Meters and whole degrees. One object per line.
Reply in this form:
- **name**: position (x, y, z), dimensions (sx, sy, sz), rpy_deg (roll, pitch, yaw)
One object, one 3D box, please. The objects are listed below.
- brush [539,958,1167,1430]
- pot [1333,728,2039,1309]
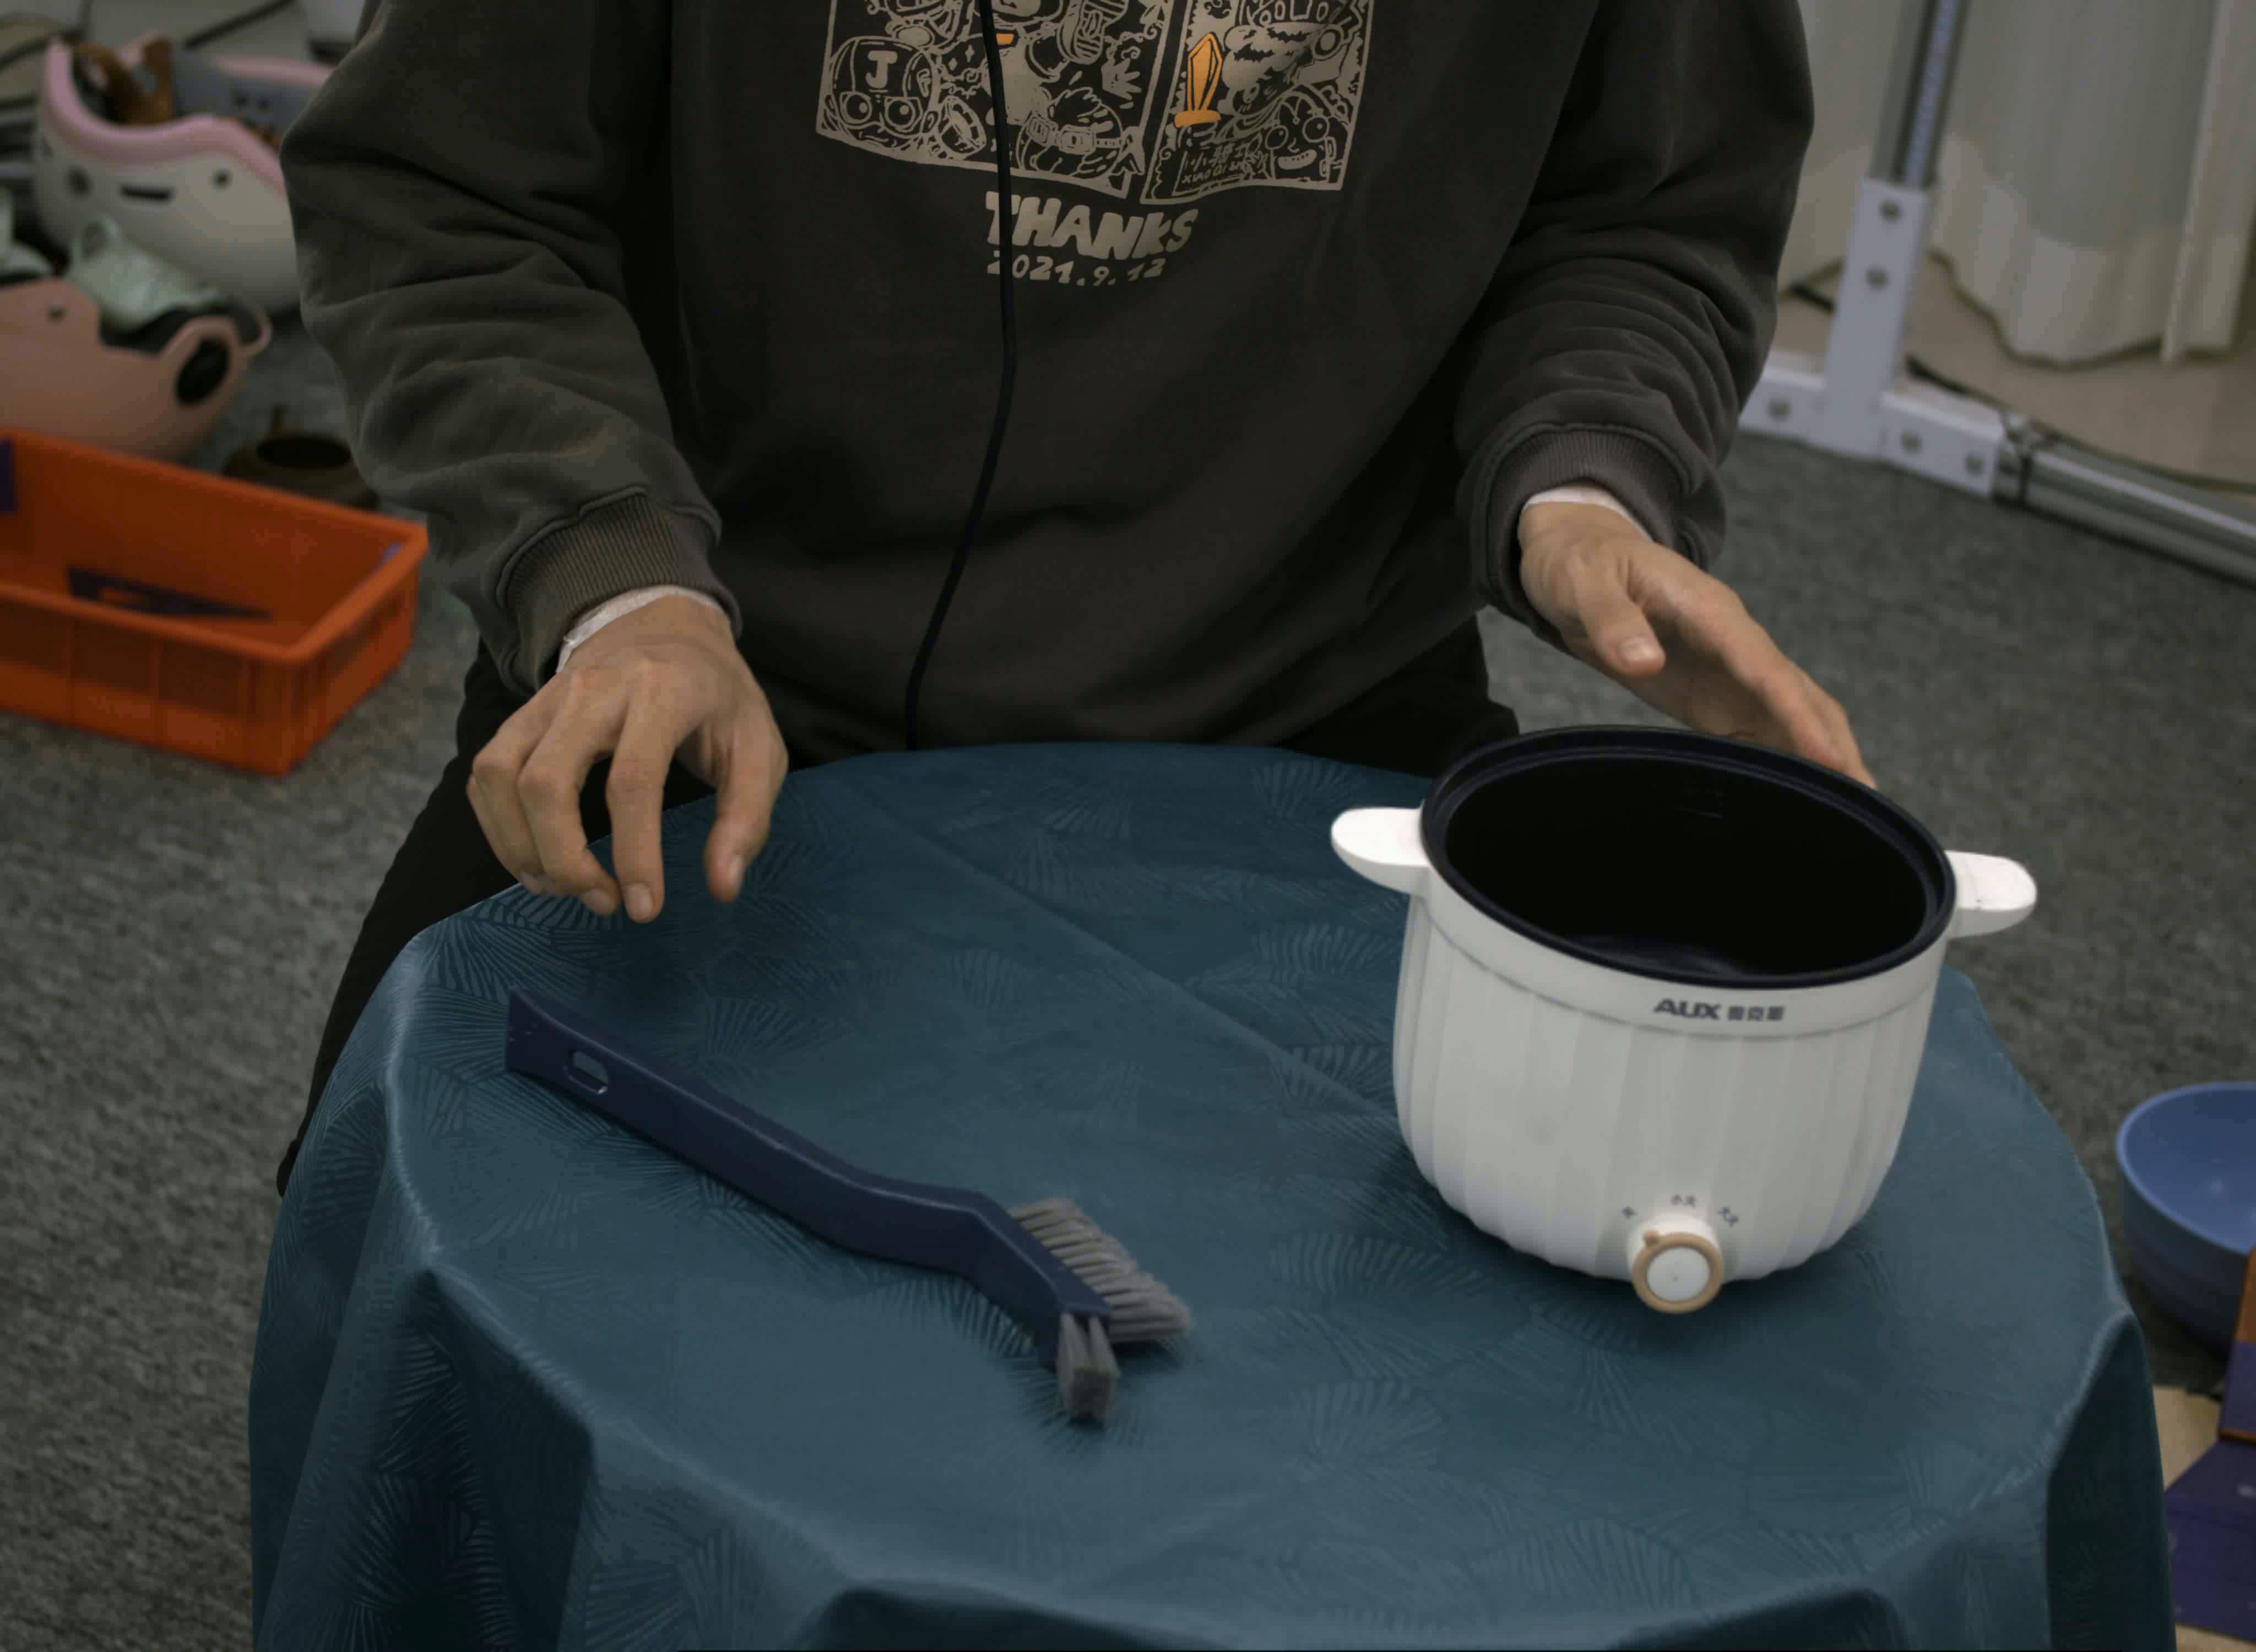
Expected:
- **brush**: position (-0.106, 0.117, 1.753), dimensions (0.274, 0.033, 0.095), rpy_deg (24, 28, 26)
- **pot**: position (0.183, 0.068, 1.801), dimensions (0.239, 0.142, 0.191), rpy_deg (3, 23, -4)
